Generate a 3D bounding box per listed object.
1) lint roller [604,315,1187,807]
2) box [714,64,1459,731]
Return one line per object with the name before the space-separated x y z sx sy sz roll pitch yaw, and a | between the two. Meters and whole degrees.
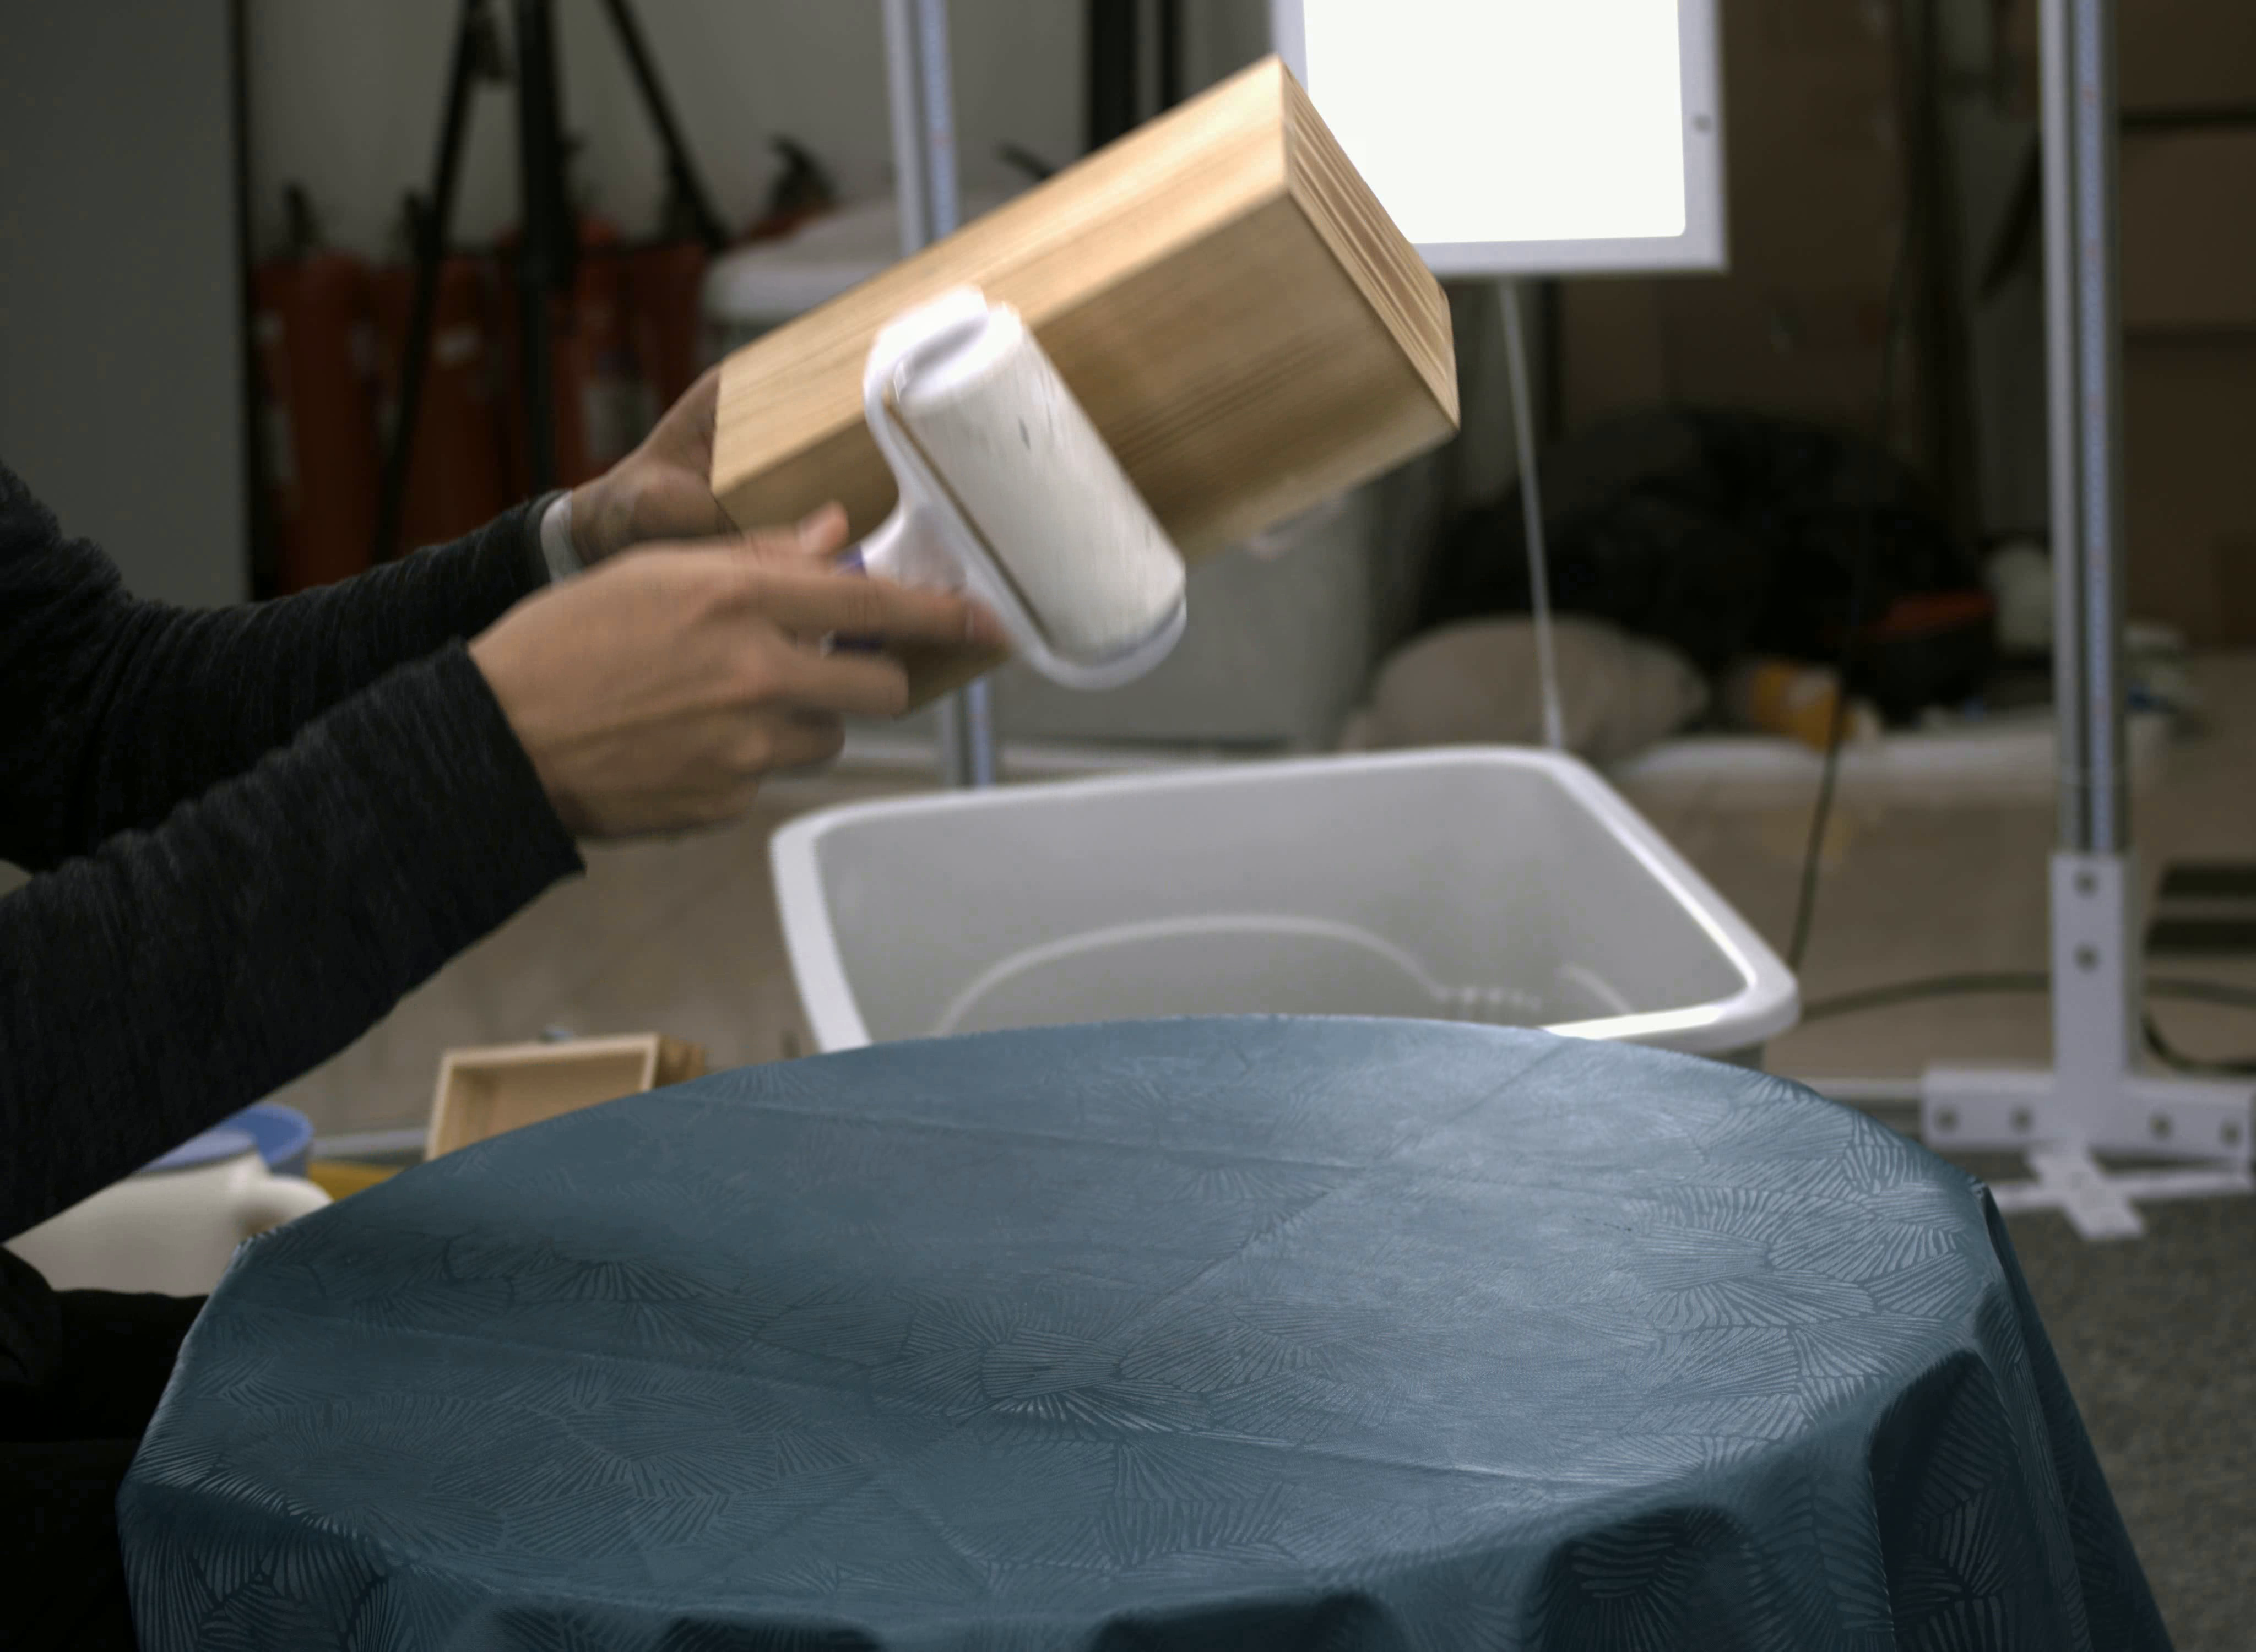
lint roller | -0.080 -0.060 1.658 0.180 0.132 0.050 -35 27 -3
box | -0.013 -0.133 1.736 0.214 0.106 0.080 -26 33 19
